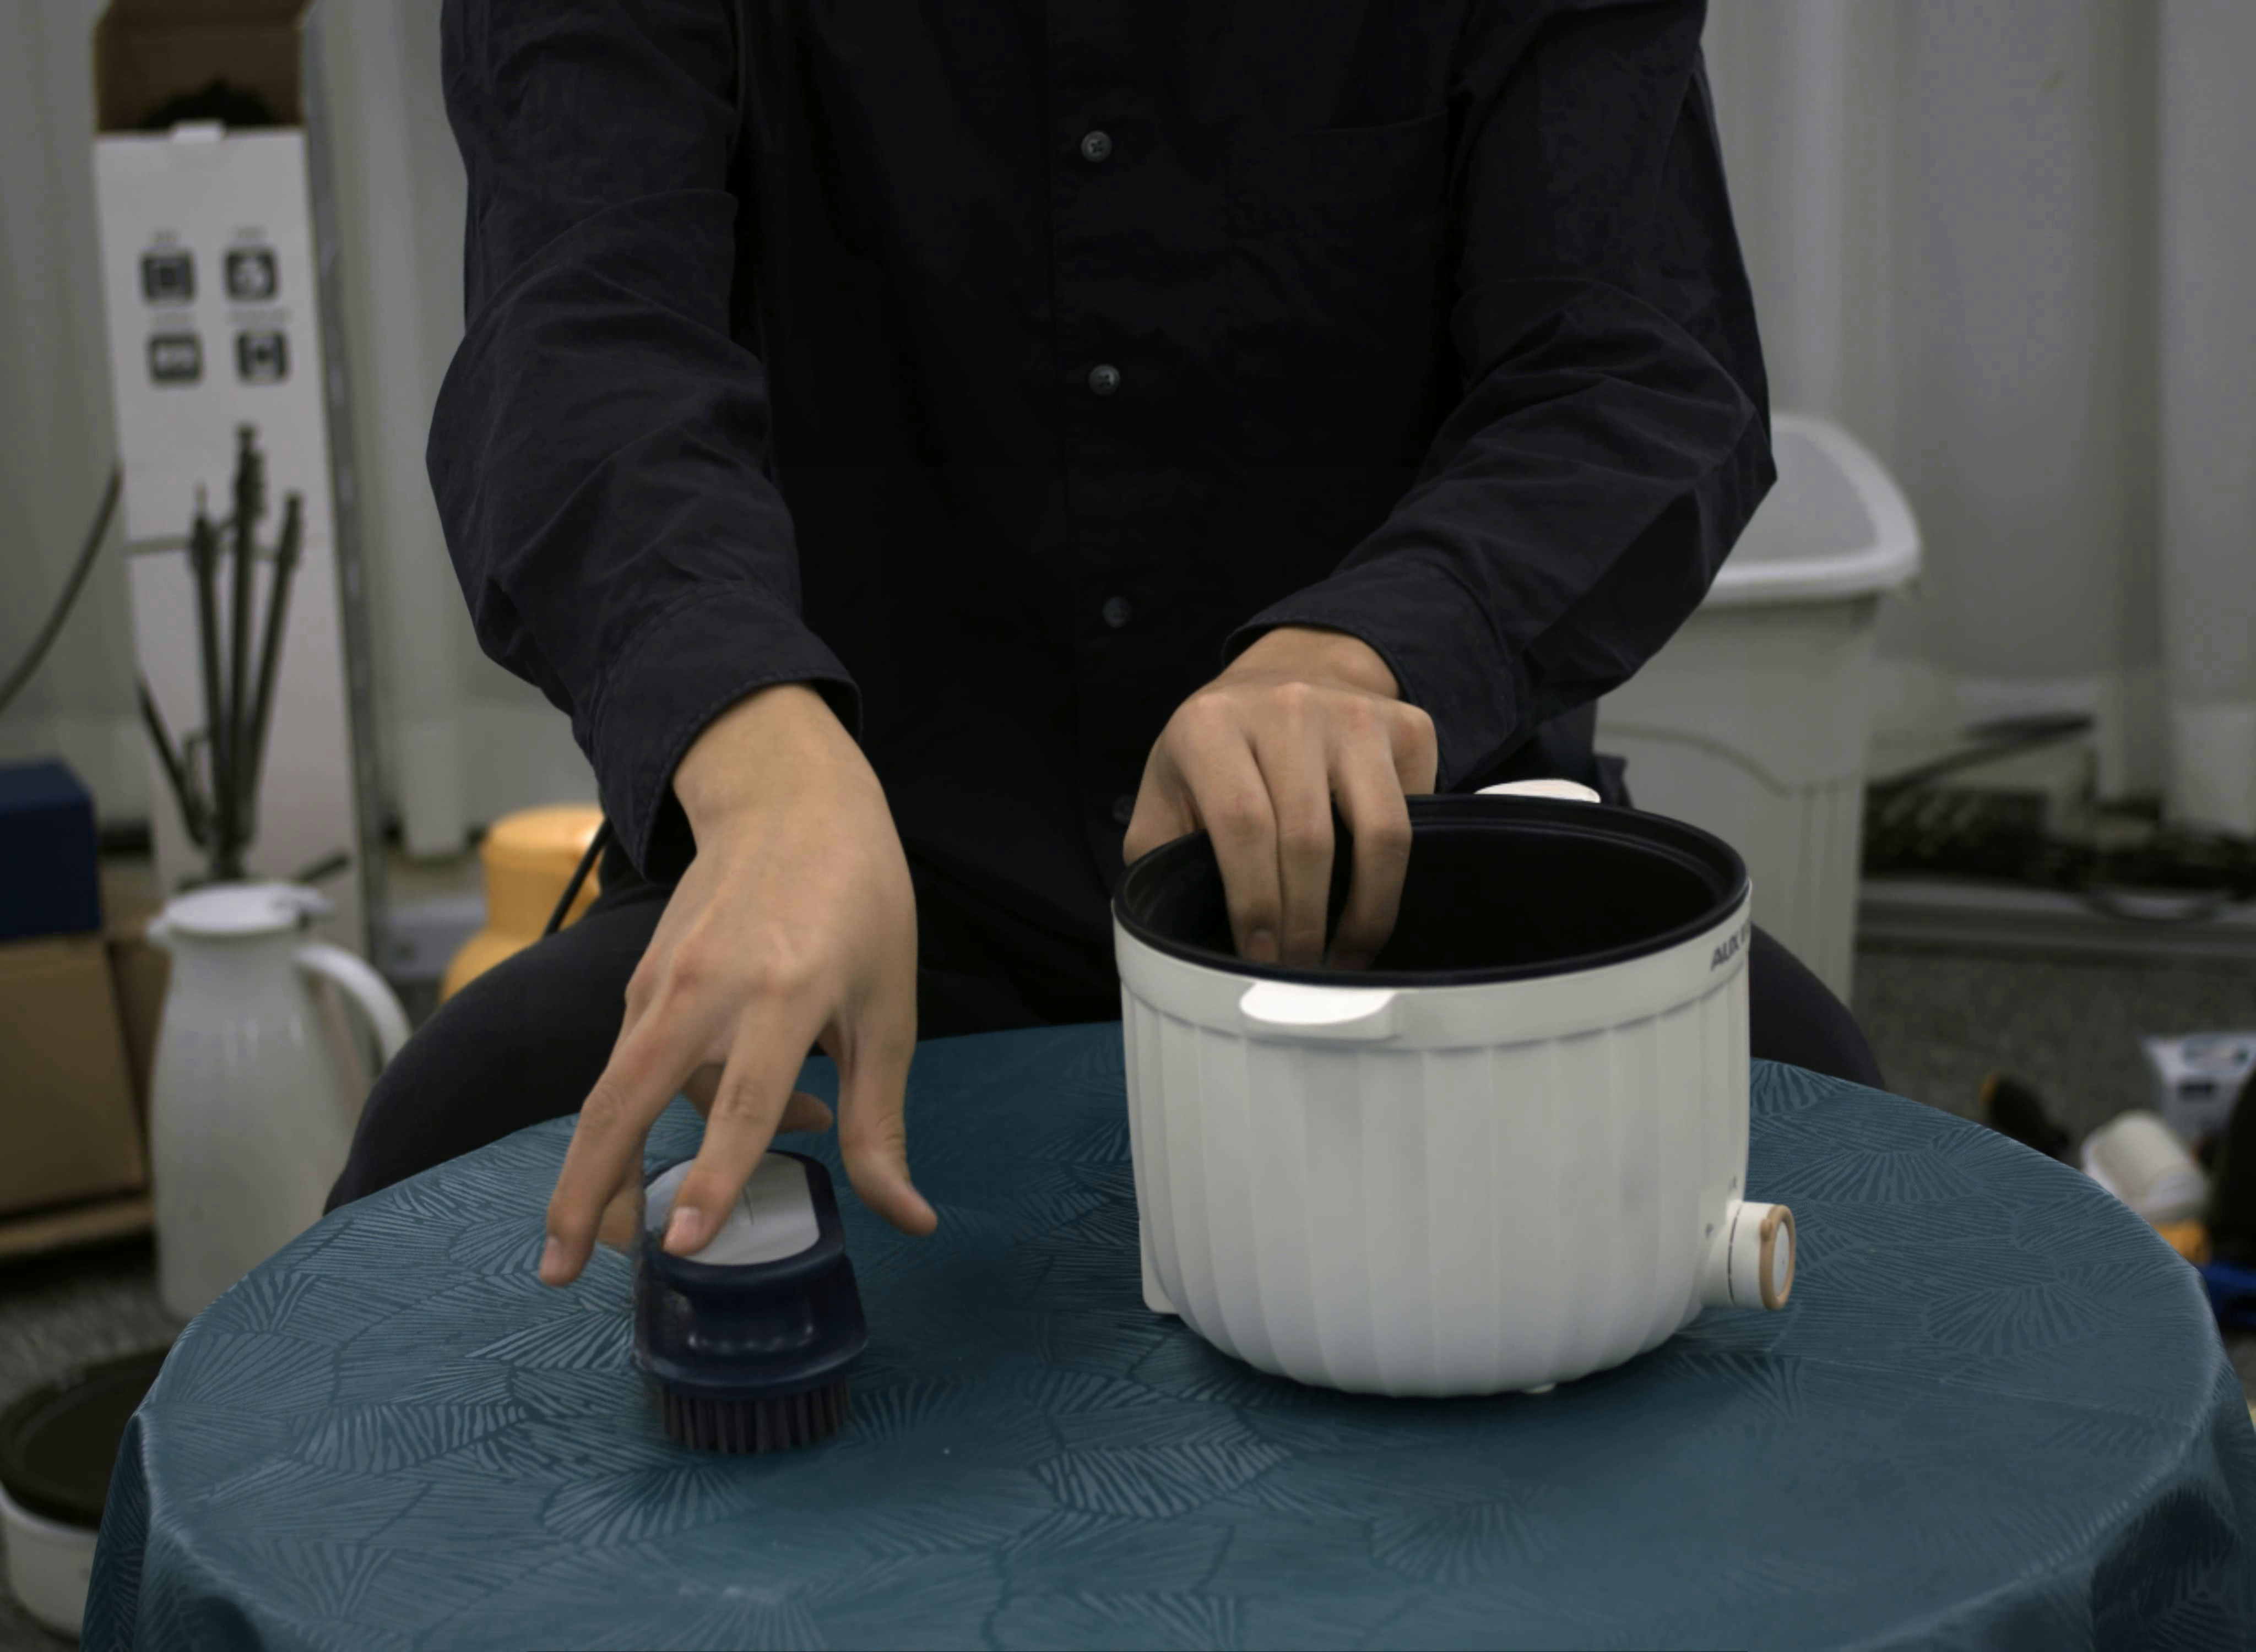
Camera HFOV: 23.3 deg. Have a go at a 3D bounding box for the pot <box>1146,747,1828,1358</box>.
[{"bbox_3d":[0.104,0.069,1.580,0.190,0.142,0.241,0,16,21],"label":"pot"}]

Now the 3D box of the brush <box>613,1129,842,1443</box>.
[{"bbox_3d":[-0.116,0.134,1.574,0.067,0.061,0.122,-7,17,0],"label":"brush"}]
